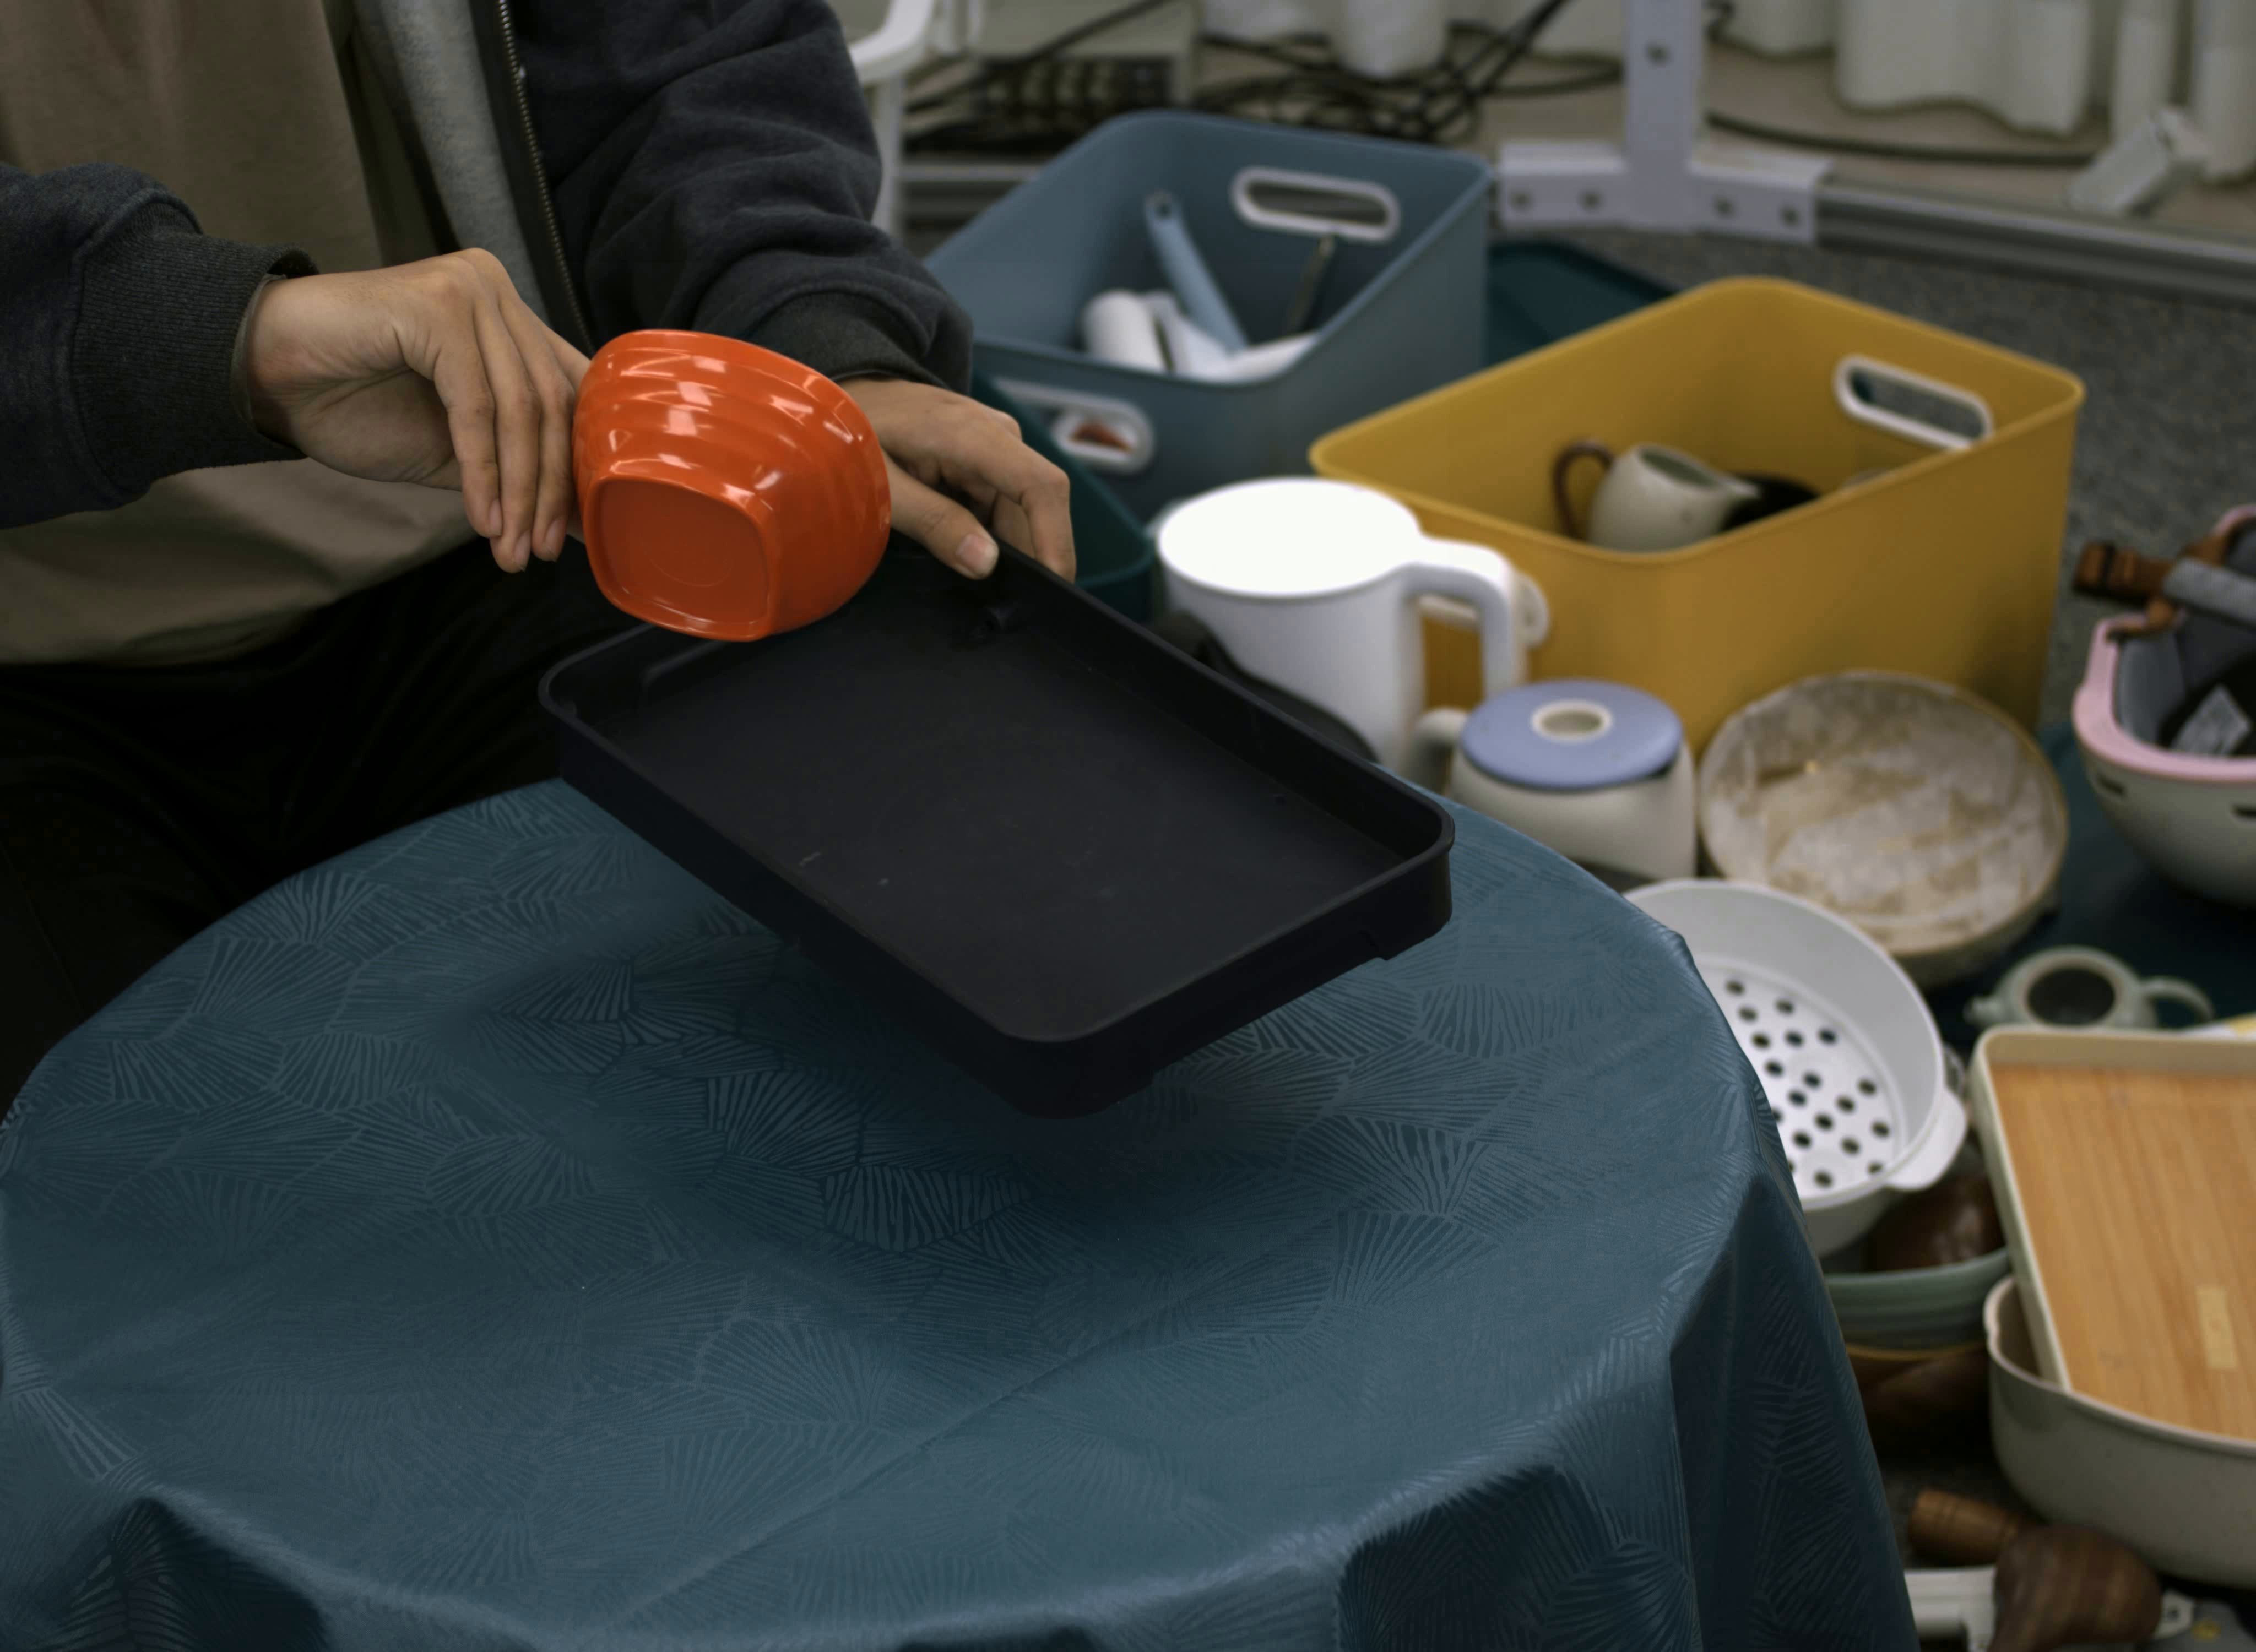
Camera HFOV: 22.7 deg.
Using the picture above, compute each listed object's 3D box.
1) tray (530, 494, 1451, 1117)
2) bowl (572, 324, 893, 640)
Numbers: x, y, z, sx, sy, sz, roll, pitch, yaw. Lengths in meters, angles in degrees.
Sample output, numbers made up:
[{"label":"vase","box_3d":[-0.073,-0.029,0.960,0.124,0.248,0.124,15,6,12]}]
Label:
[{"label":"tray","box_3d":[-0.051,-0.013,1.927,0.186,0.036,0.319,-26,39,-29]},{"label":"bowl","box_3d":[-0.136,-0.103,1.832,0.118,0.117,0.052,8,45,20]}]
